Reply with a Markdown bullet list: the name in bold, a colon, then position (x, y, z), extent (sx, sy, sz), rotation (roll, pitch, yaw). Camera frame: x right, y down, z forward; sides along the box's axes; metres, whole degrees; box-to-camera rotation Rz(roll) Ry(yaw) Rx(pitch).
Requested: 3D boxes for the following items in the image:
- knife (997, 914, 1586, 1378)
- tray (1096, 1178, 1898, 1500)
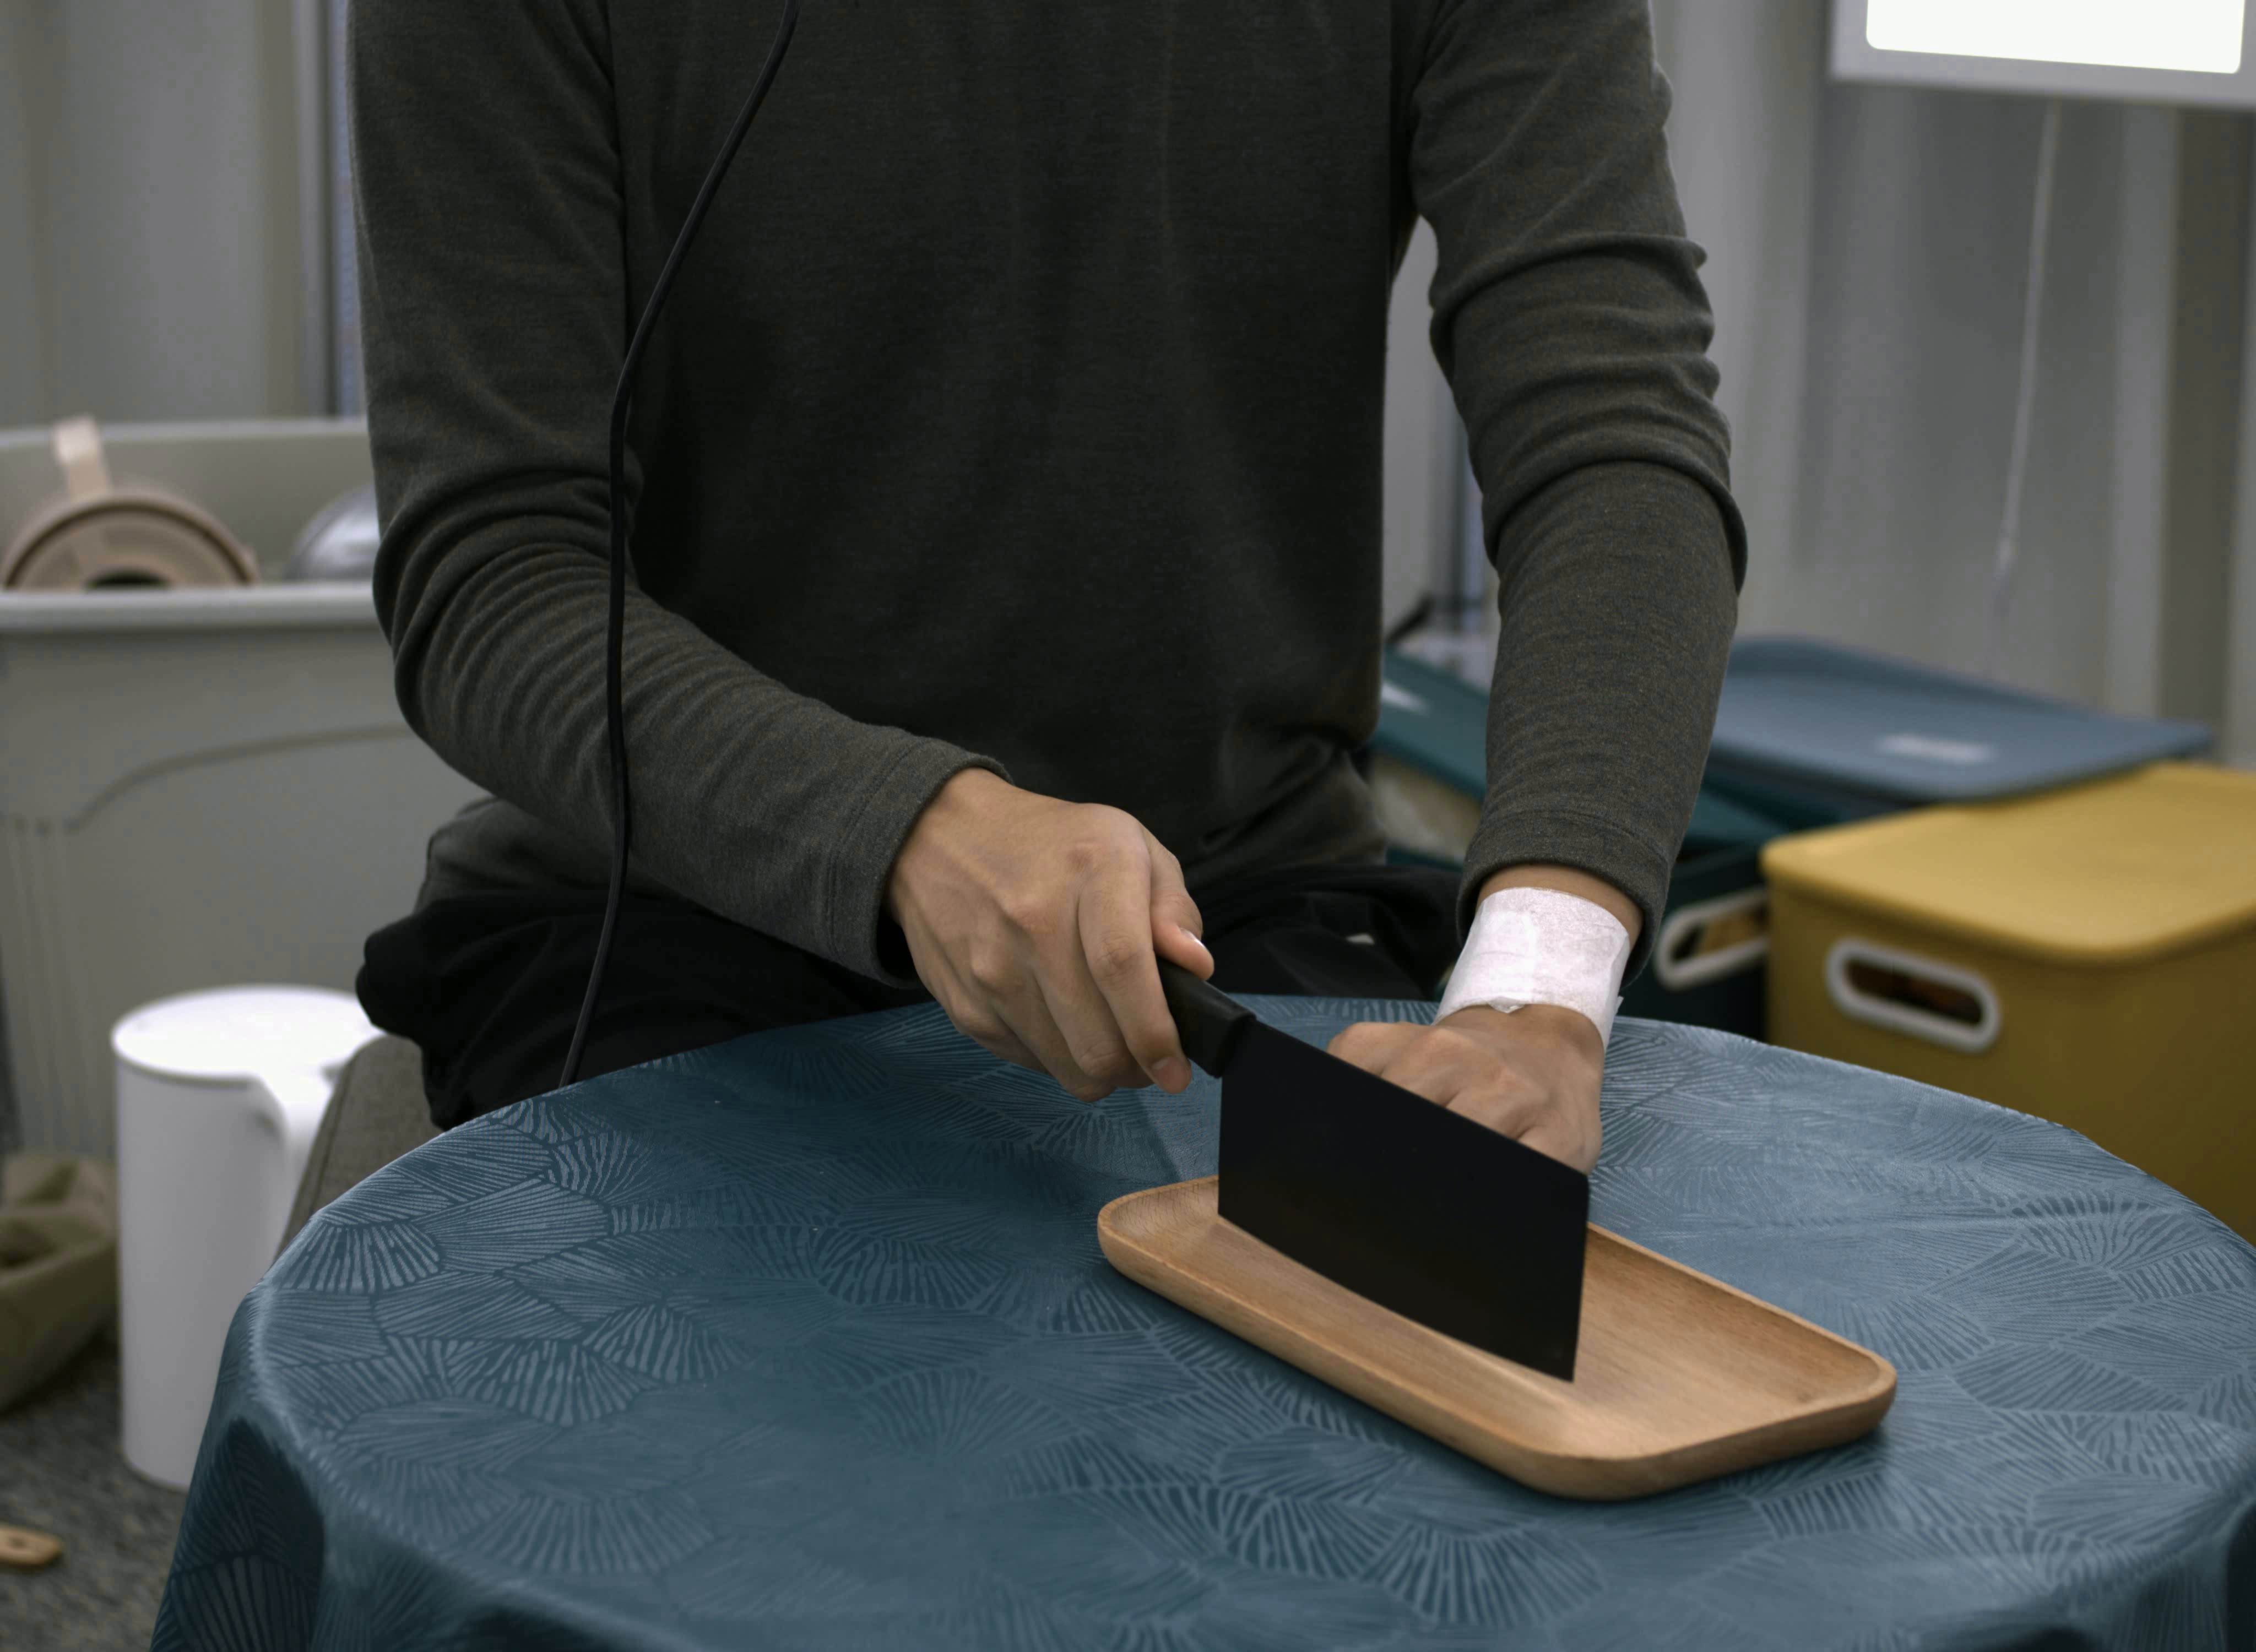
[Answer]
- **knife**: position (0.044, 0.086, 1.541), extent (0.021, 0.081, 0.298), rotation (-5, 21, -32)
- **tray**: position (0.101, 0.139, 1.504), extent (0.131, 0.023, 0.247), rotation (-7, 16, -32)
